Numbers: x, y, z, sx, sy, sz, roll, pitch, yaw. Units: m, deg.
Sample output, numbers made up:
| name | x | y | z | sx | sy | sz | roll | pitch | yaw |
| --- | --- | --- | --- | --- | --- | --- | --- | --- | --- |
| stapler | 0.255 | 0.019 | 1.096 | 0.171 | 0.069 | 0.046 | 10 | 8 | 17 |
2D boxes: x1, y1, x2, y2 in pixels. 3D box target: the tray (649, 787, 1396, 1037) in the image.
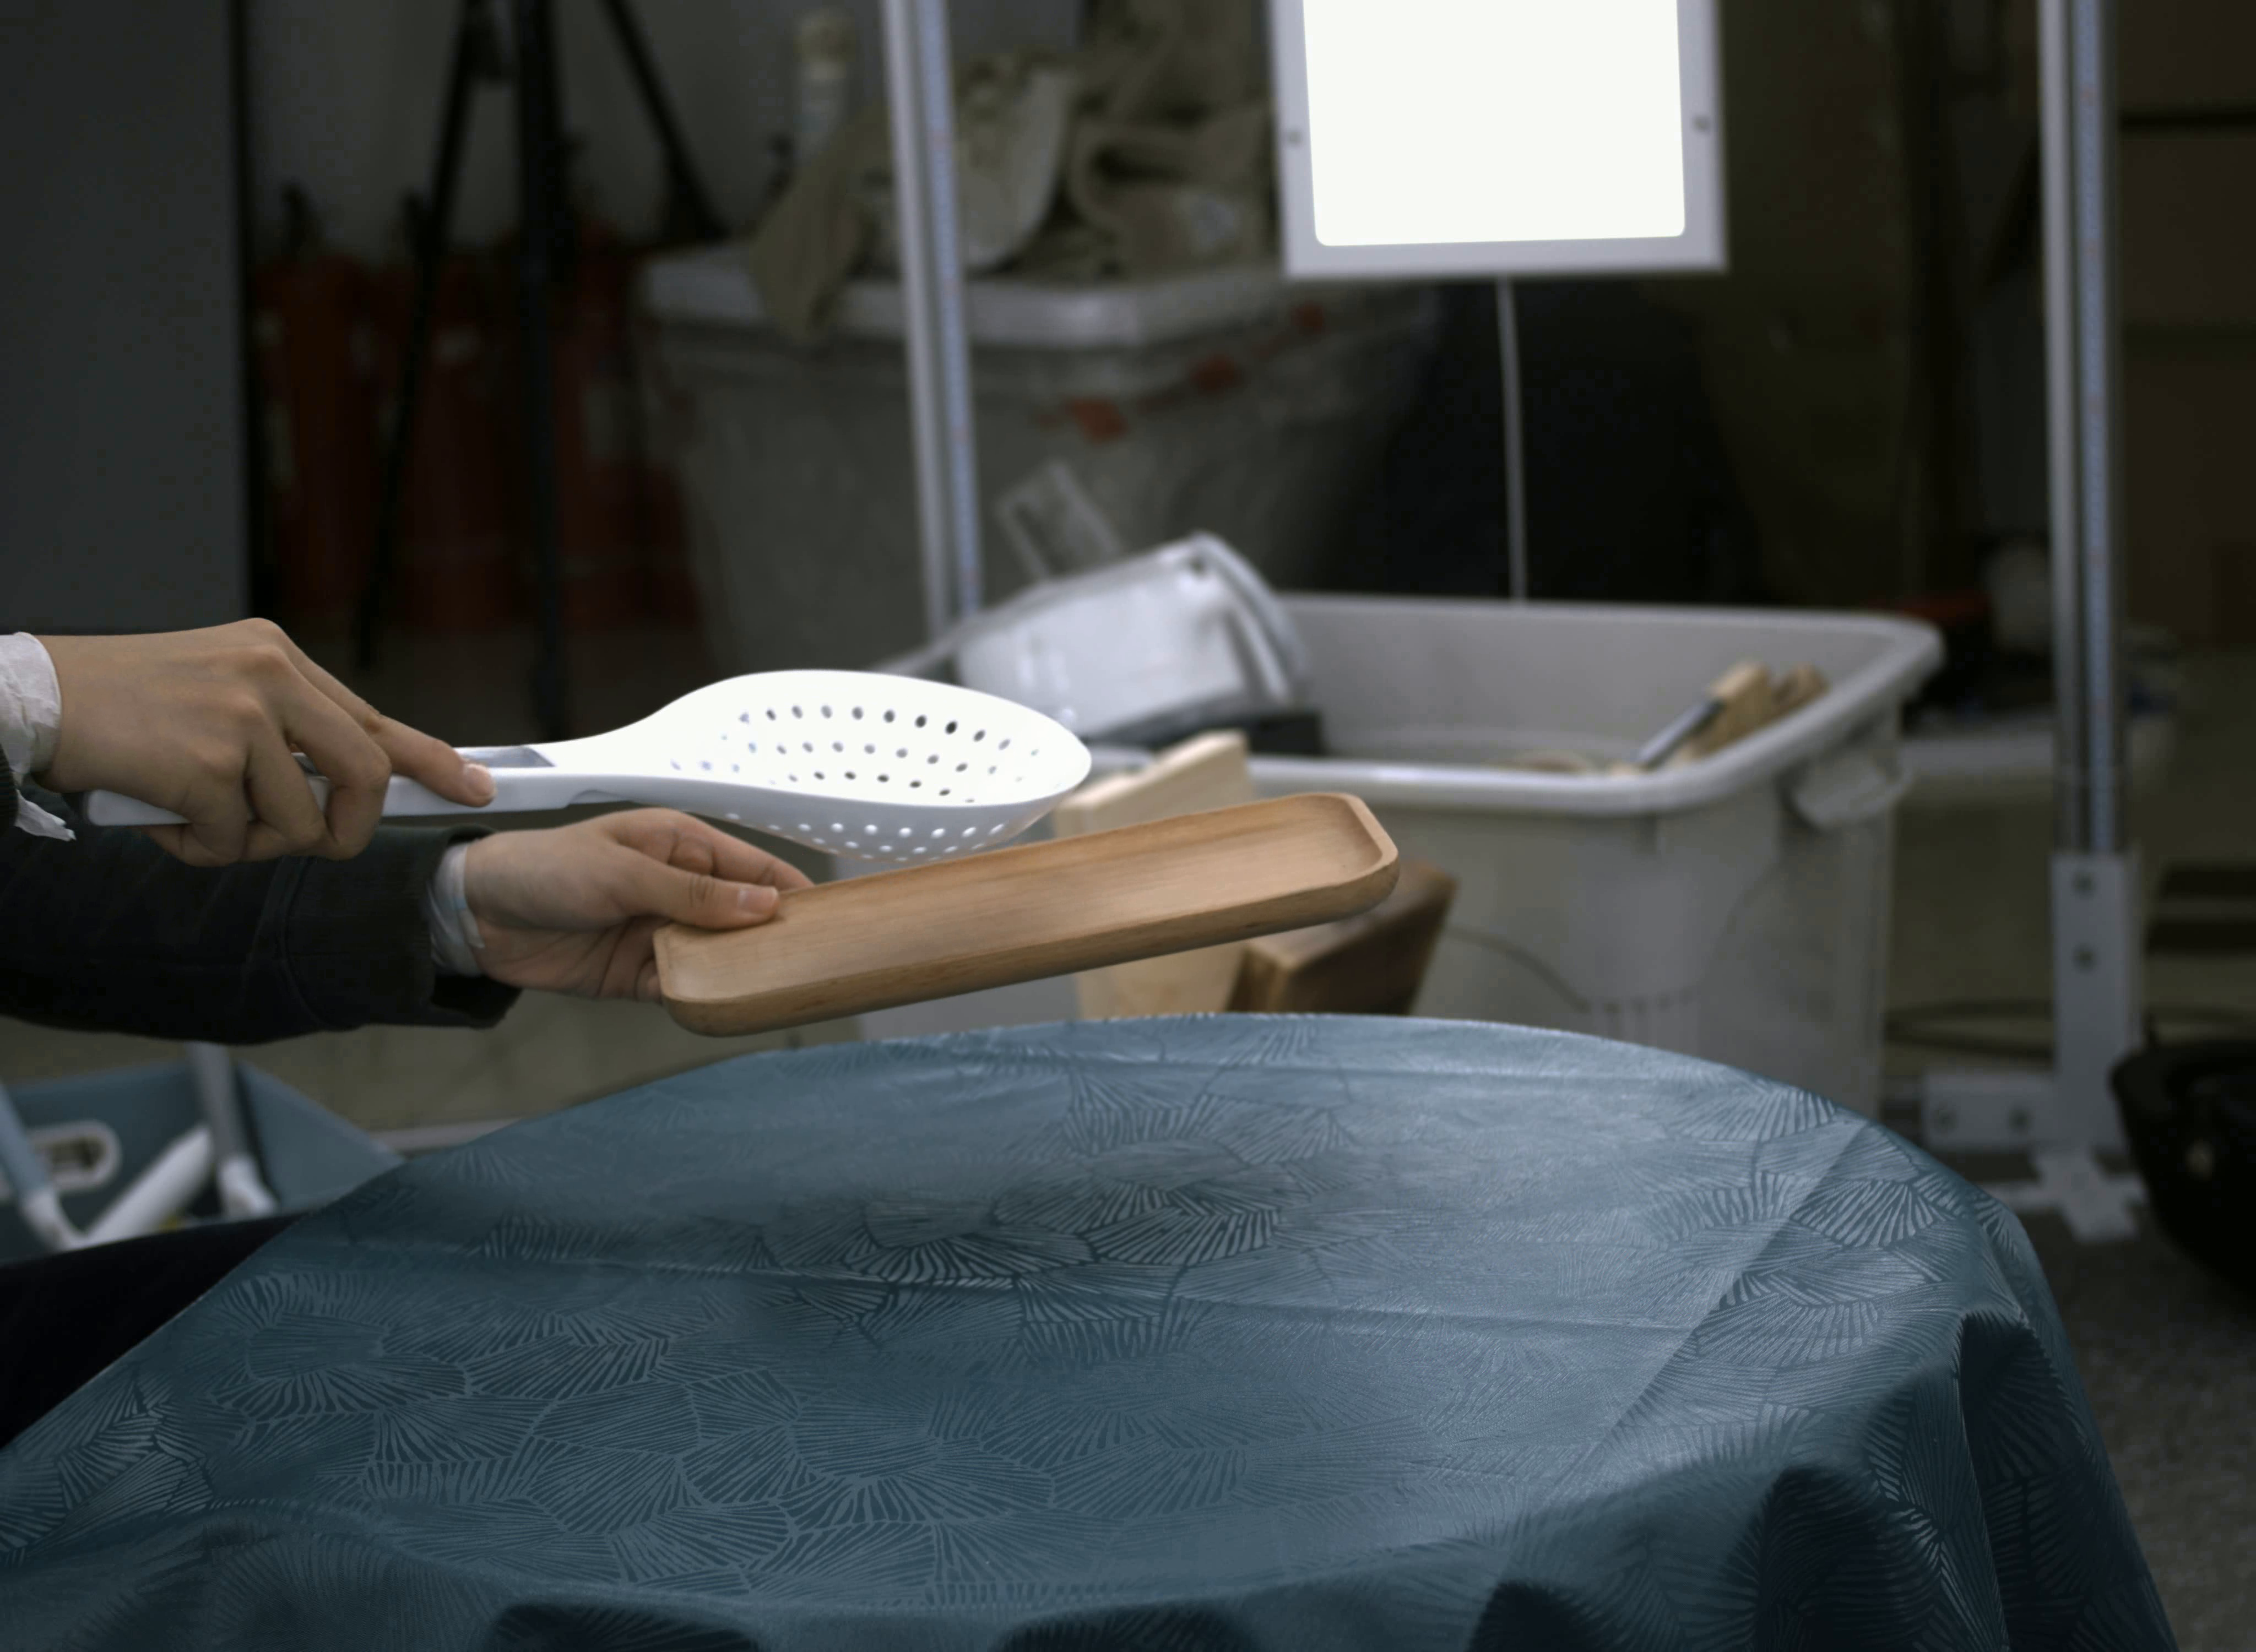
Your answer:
| name | x | y | z | sx | sy | sz | roll | pitch | yaw |
| --- | --- | --- | --- | --- | --- | --- | --- | --- | --- |
| tray | -0.036 | 0.029 | 1.861 | 0.249 | 0.023 | 0.131 | -12 | 13 | -2 |

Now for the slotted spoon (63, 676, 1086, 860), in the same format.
| name | x | y | z | sx | sy | sz | roll | pitch | yaw |
| --- | --- | --- | --- | --- | --- | --- | --- | --- | --- |
| slotted spoon | -0.172 | -0.018 | 1.765 | 0.341 | 0.046 | 0.138 | 2 | 16 | -32 |
